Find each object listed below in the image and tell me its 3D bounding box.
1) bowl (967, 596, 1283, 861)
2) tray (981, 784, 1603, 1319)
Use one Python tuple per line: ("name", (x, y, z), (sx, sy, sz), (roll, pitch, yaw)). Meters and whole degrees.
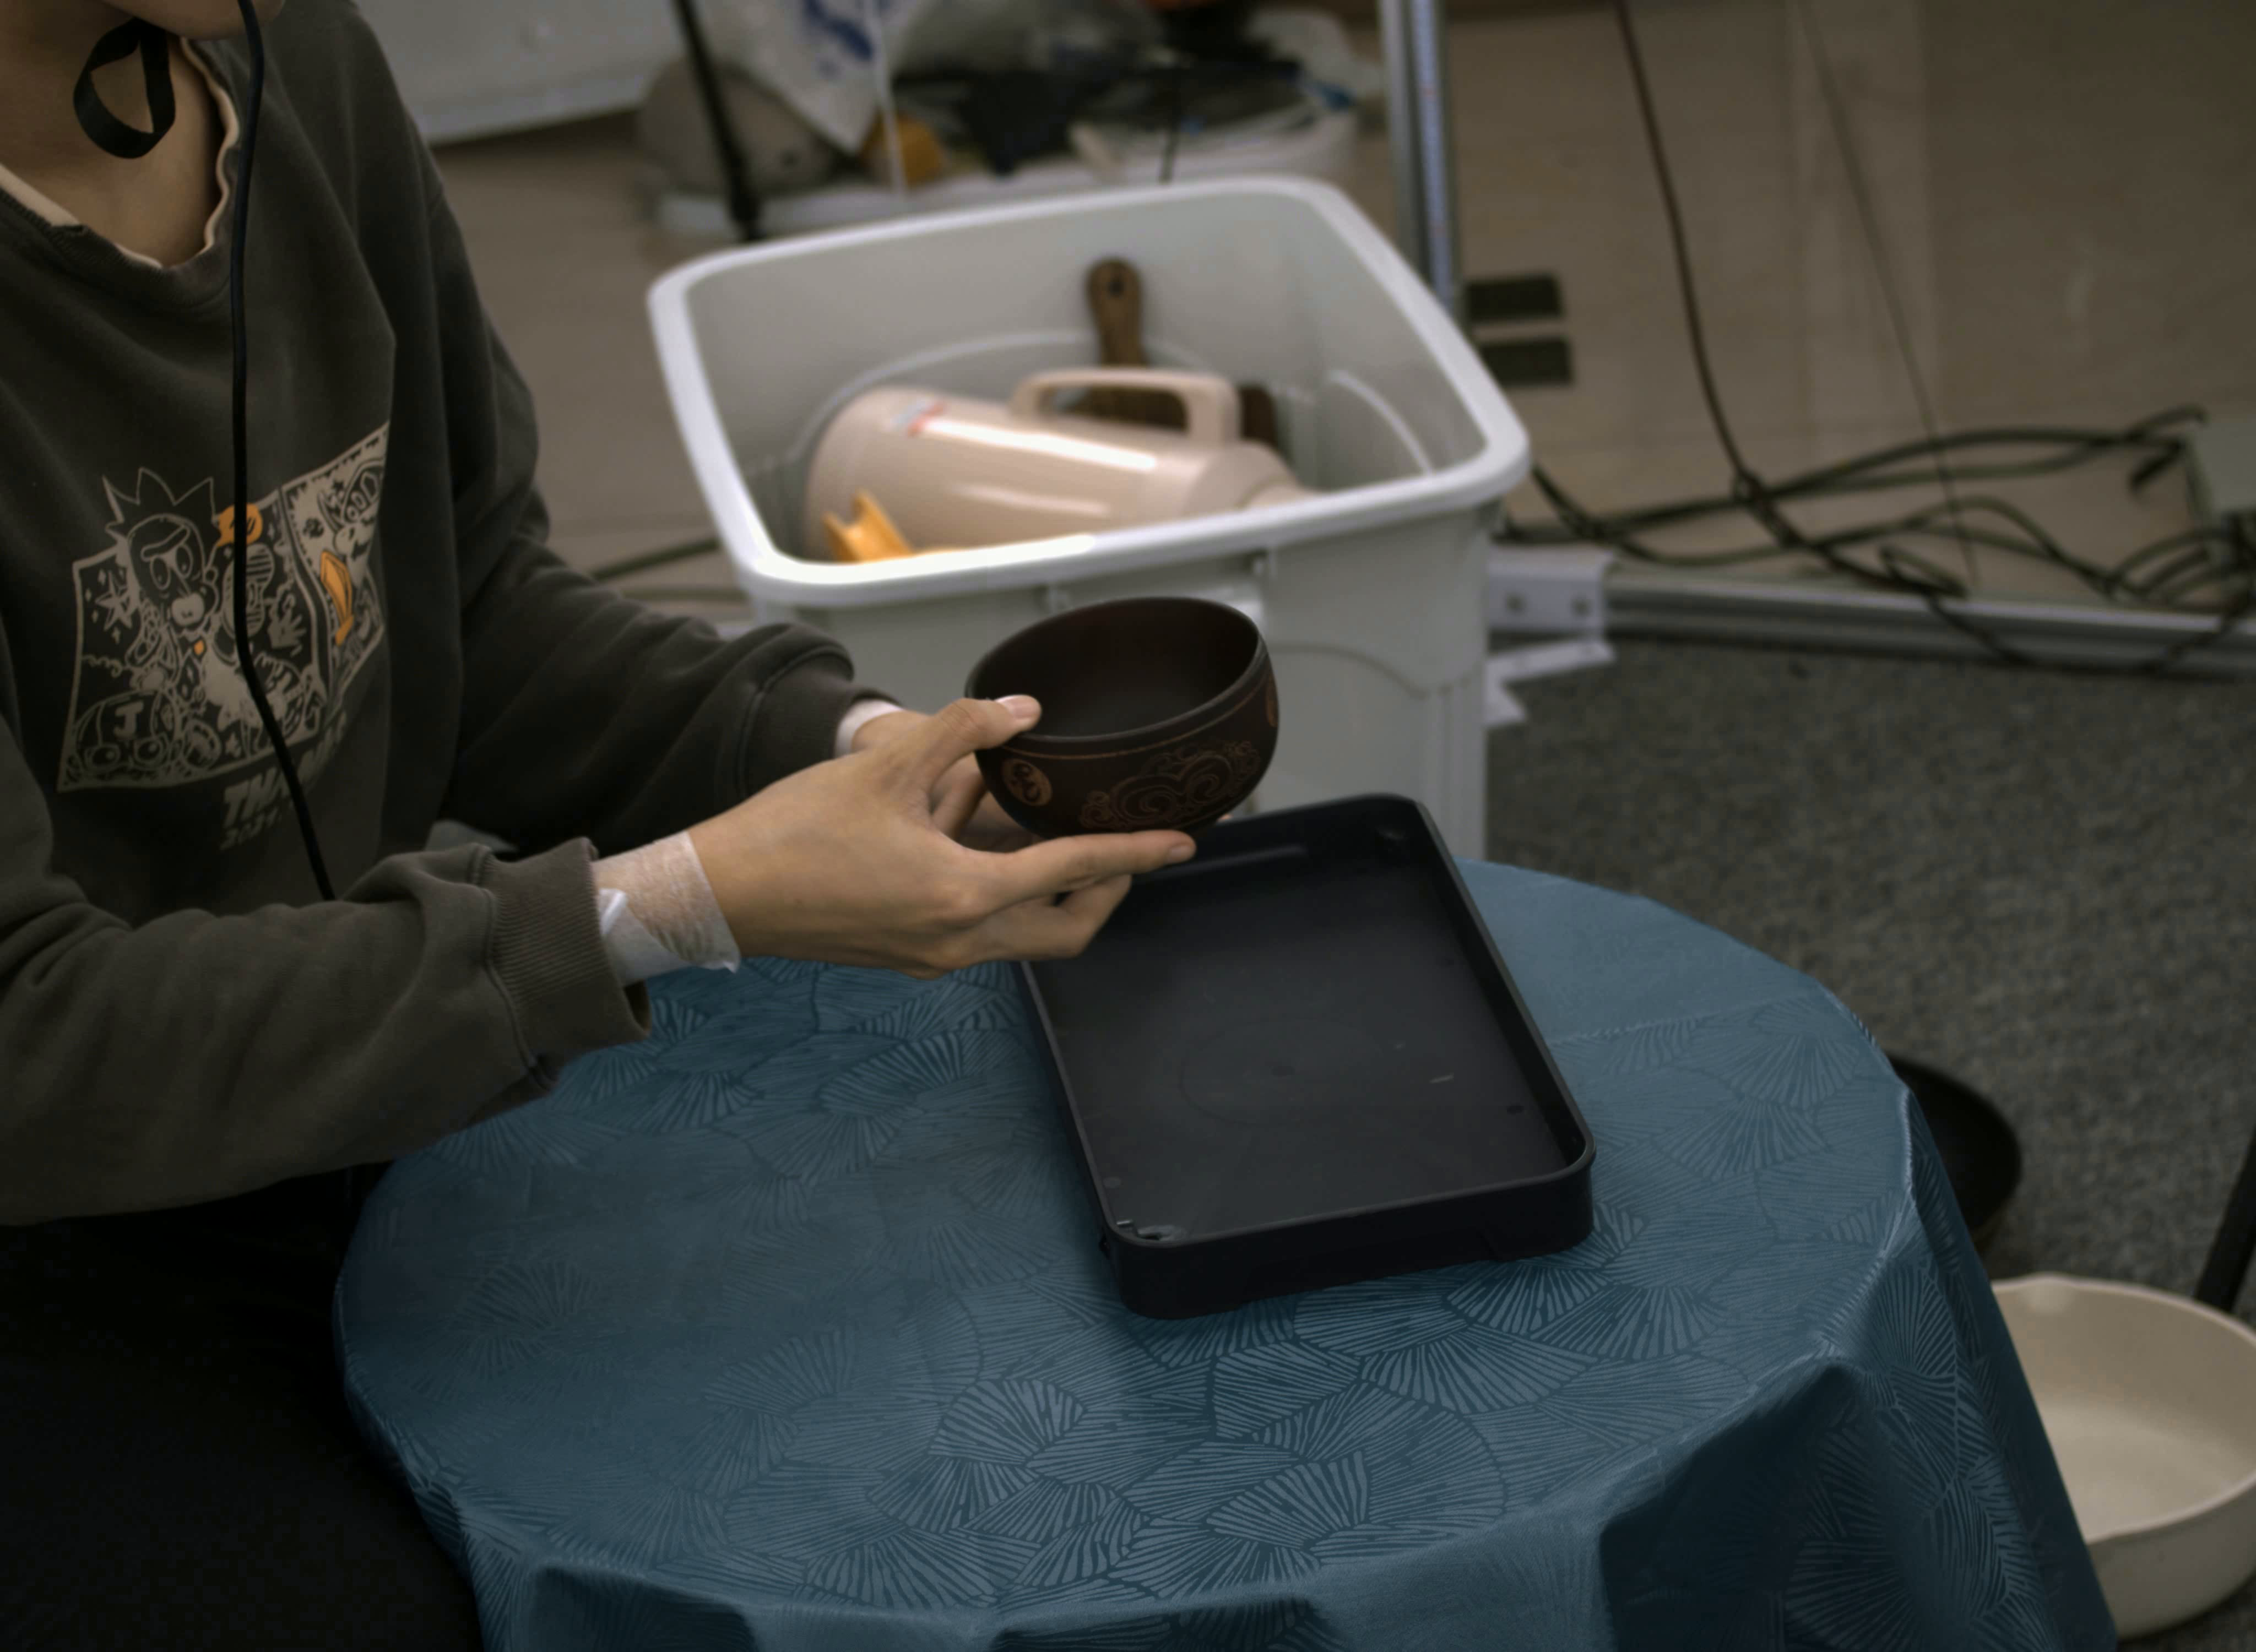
("bowl", (0.002, -0.030, 2.134), (0.118, 0.071, 0.116), (-11, 28, 6))
("tray", (0.059, 0.082, 2.195), (0.184, 0.037, 0.313), (-12, 29, -7))
